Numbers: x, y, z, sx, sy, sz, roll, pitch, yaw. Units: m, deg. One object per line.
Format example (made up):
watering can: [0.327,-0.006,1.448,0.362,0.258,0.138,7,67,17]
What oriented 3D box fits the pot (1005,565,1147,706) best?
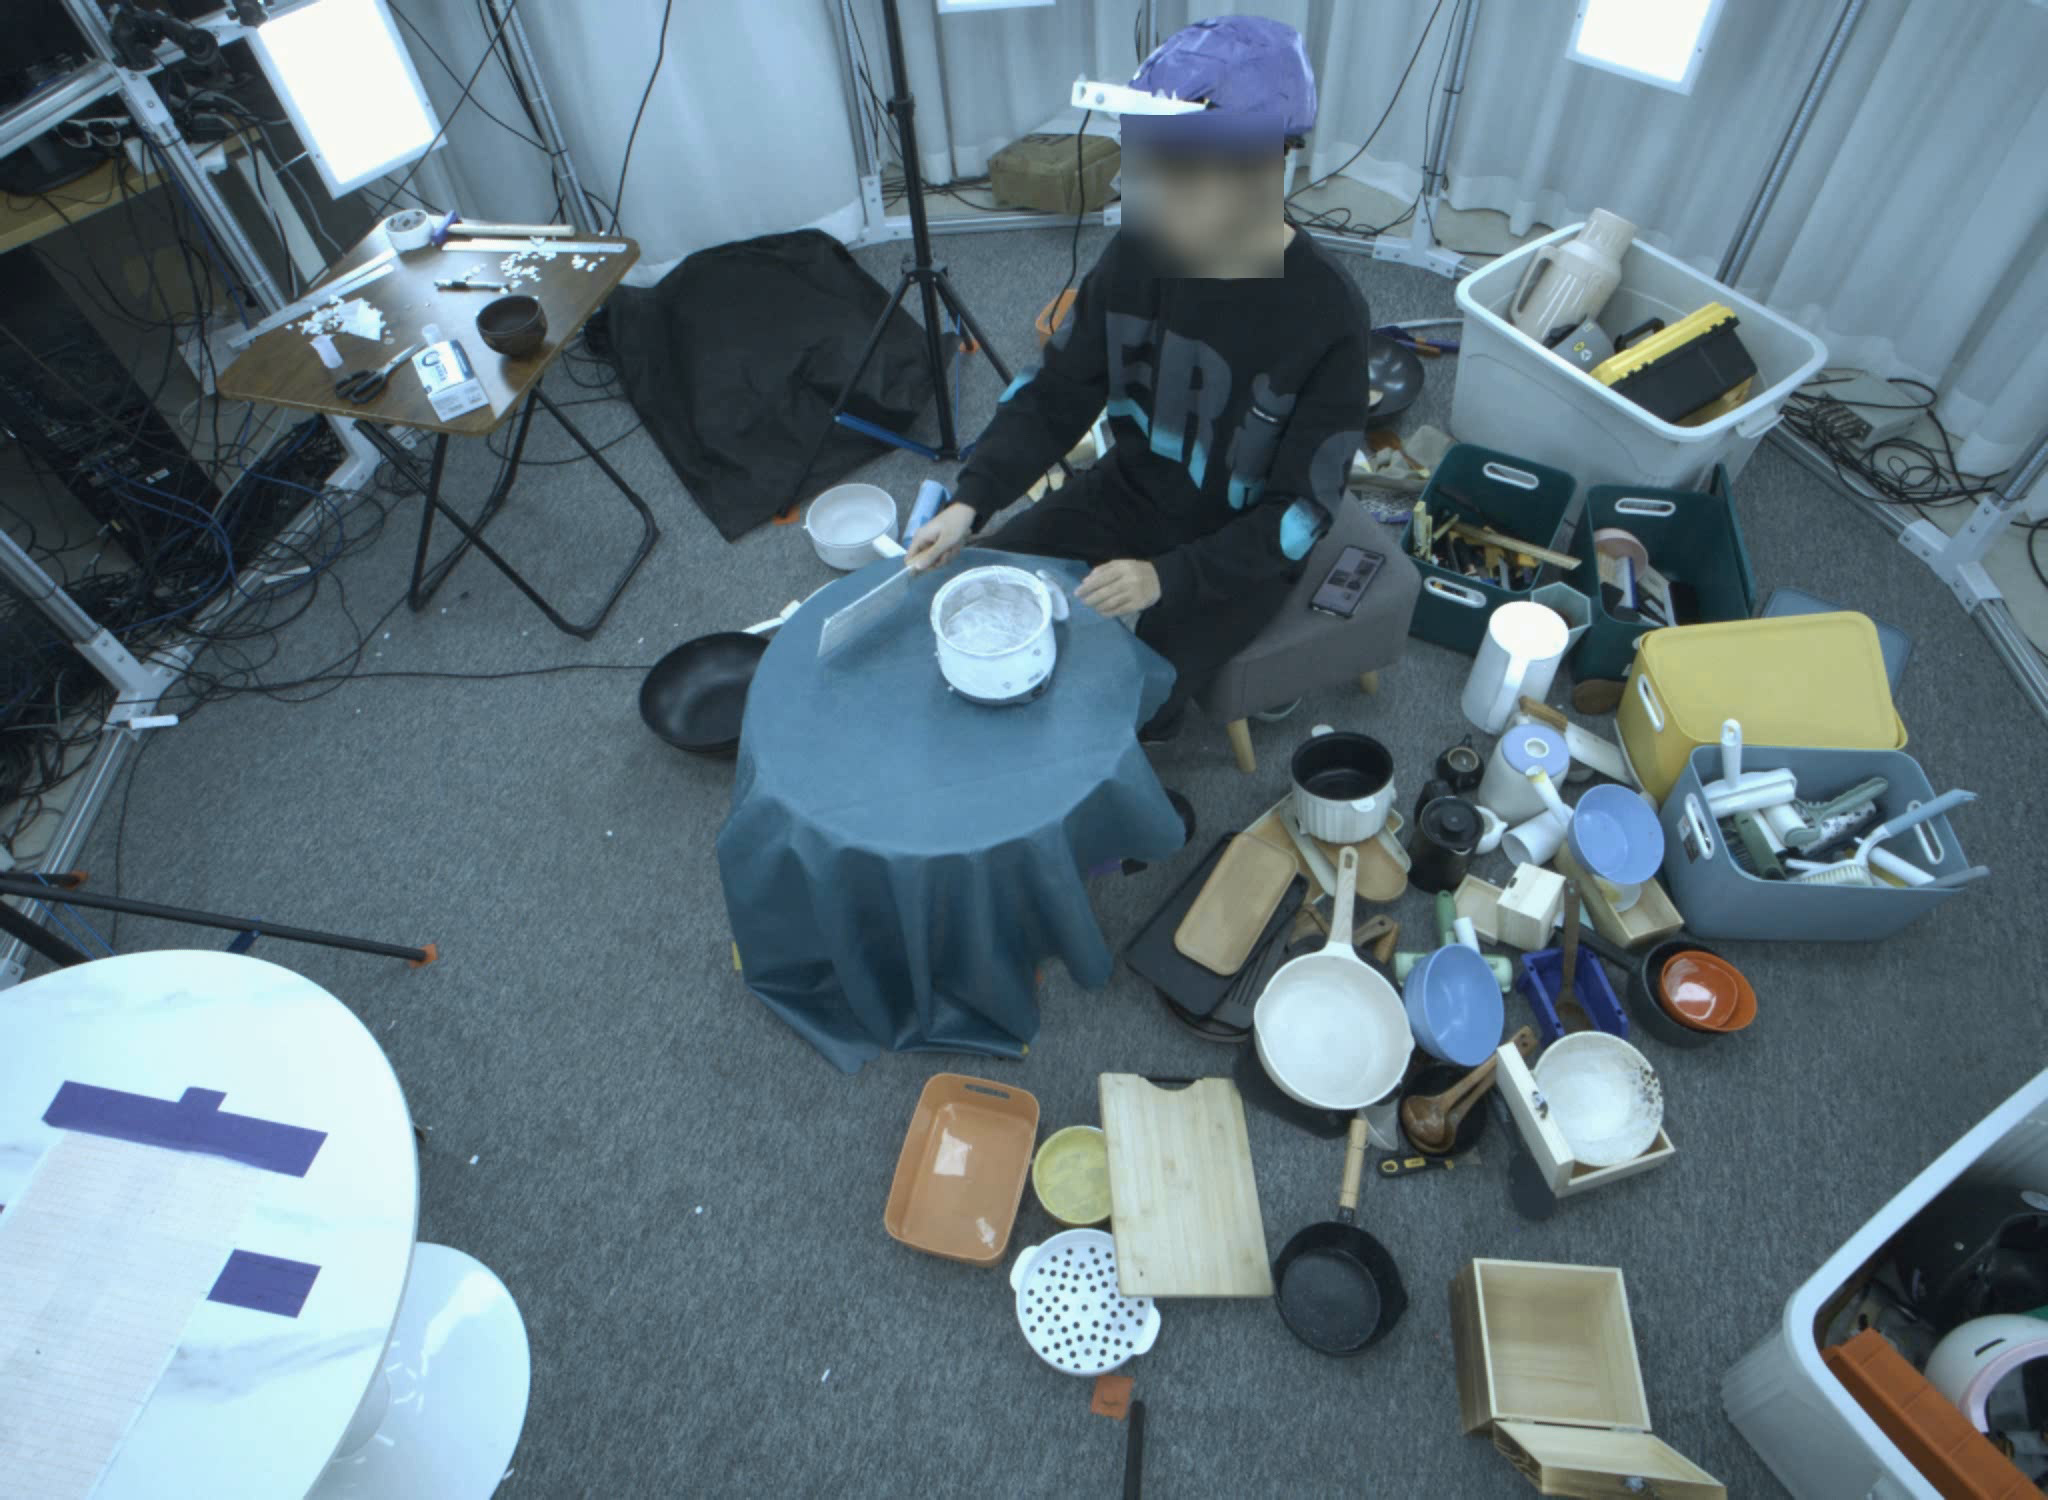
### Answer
pot: [0.086,-0.180,1.825,0.235,0.138,0.175,-36,61,-19]

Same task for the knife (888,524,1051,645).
knife: [-0.083,-0.262,1.901,0.317,0.114,0.021,-37,79,-20]
